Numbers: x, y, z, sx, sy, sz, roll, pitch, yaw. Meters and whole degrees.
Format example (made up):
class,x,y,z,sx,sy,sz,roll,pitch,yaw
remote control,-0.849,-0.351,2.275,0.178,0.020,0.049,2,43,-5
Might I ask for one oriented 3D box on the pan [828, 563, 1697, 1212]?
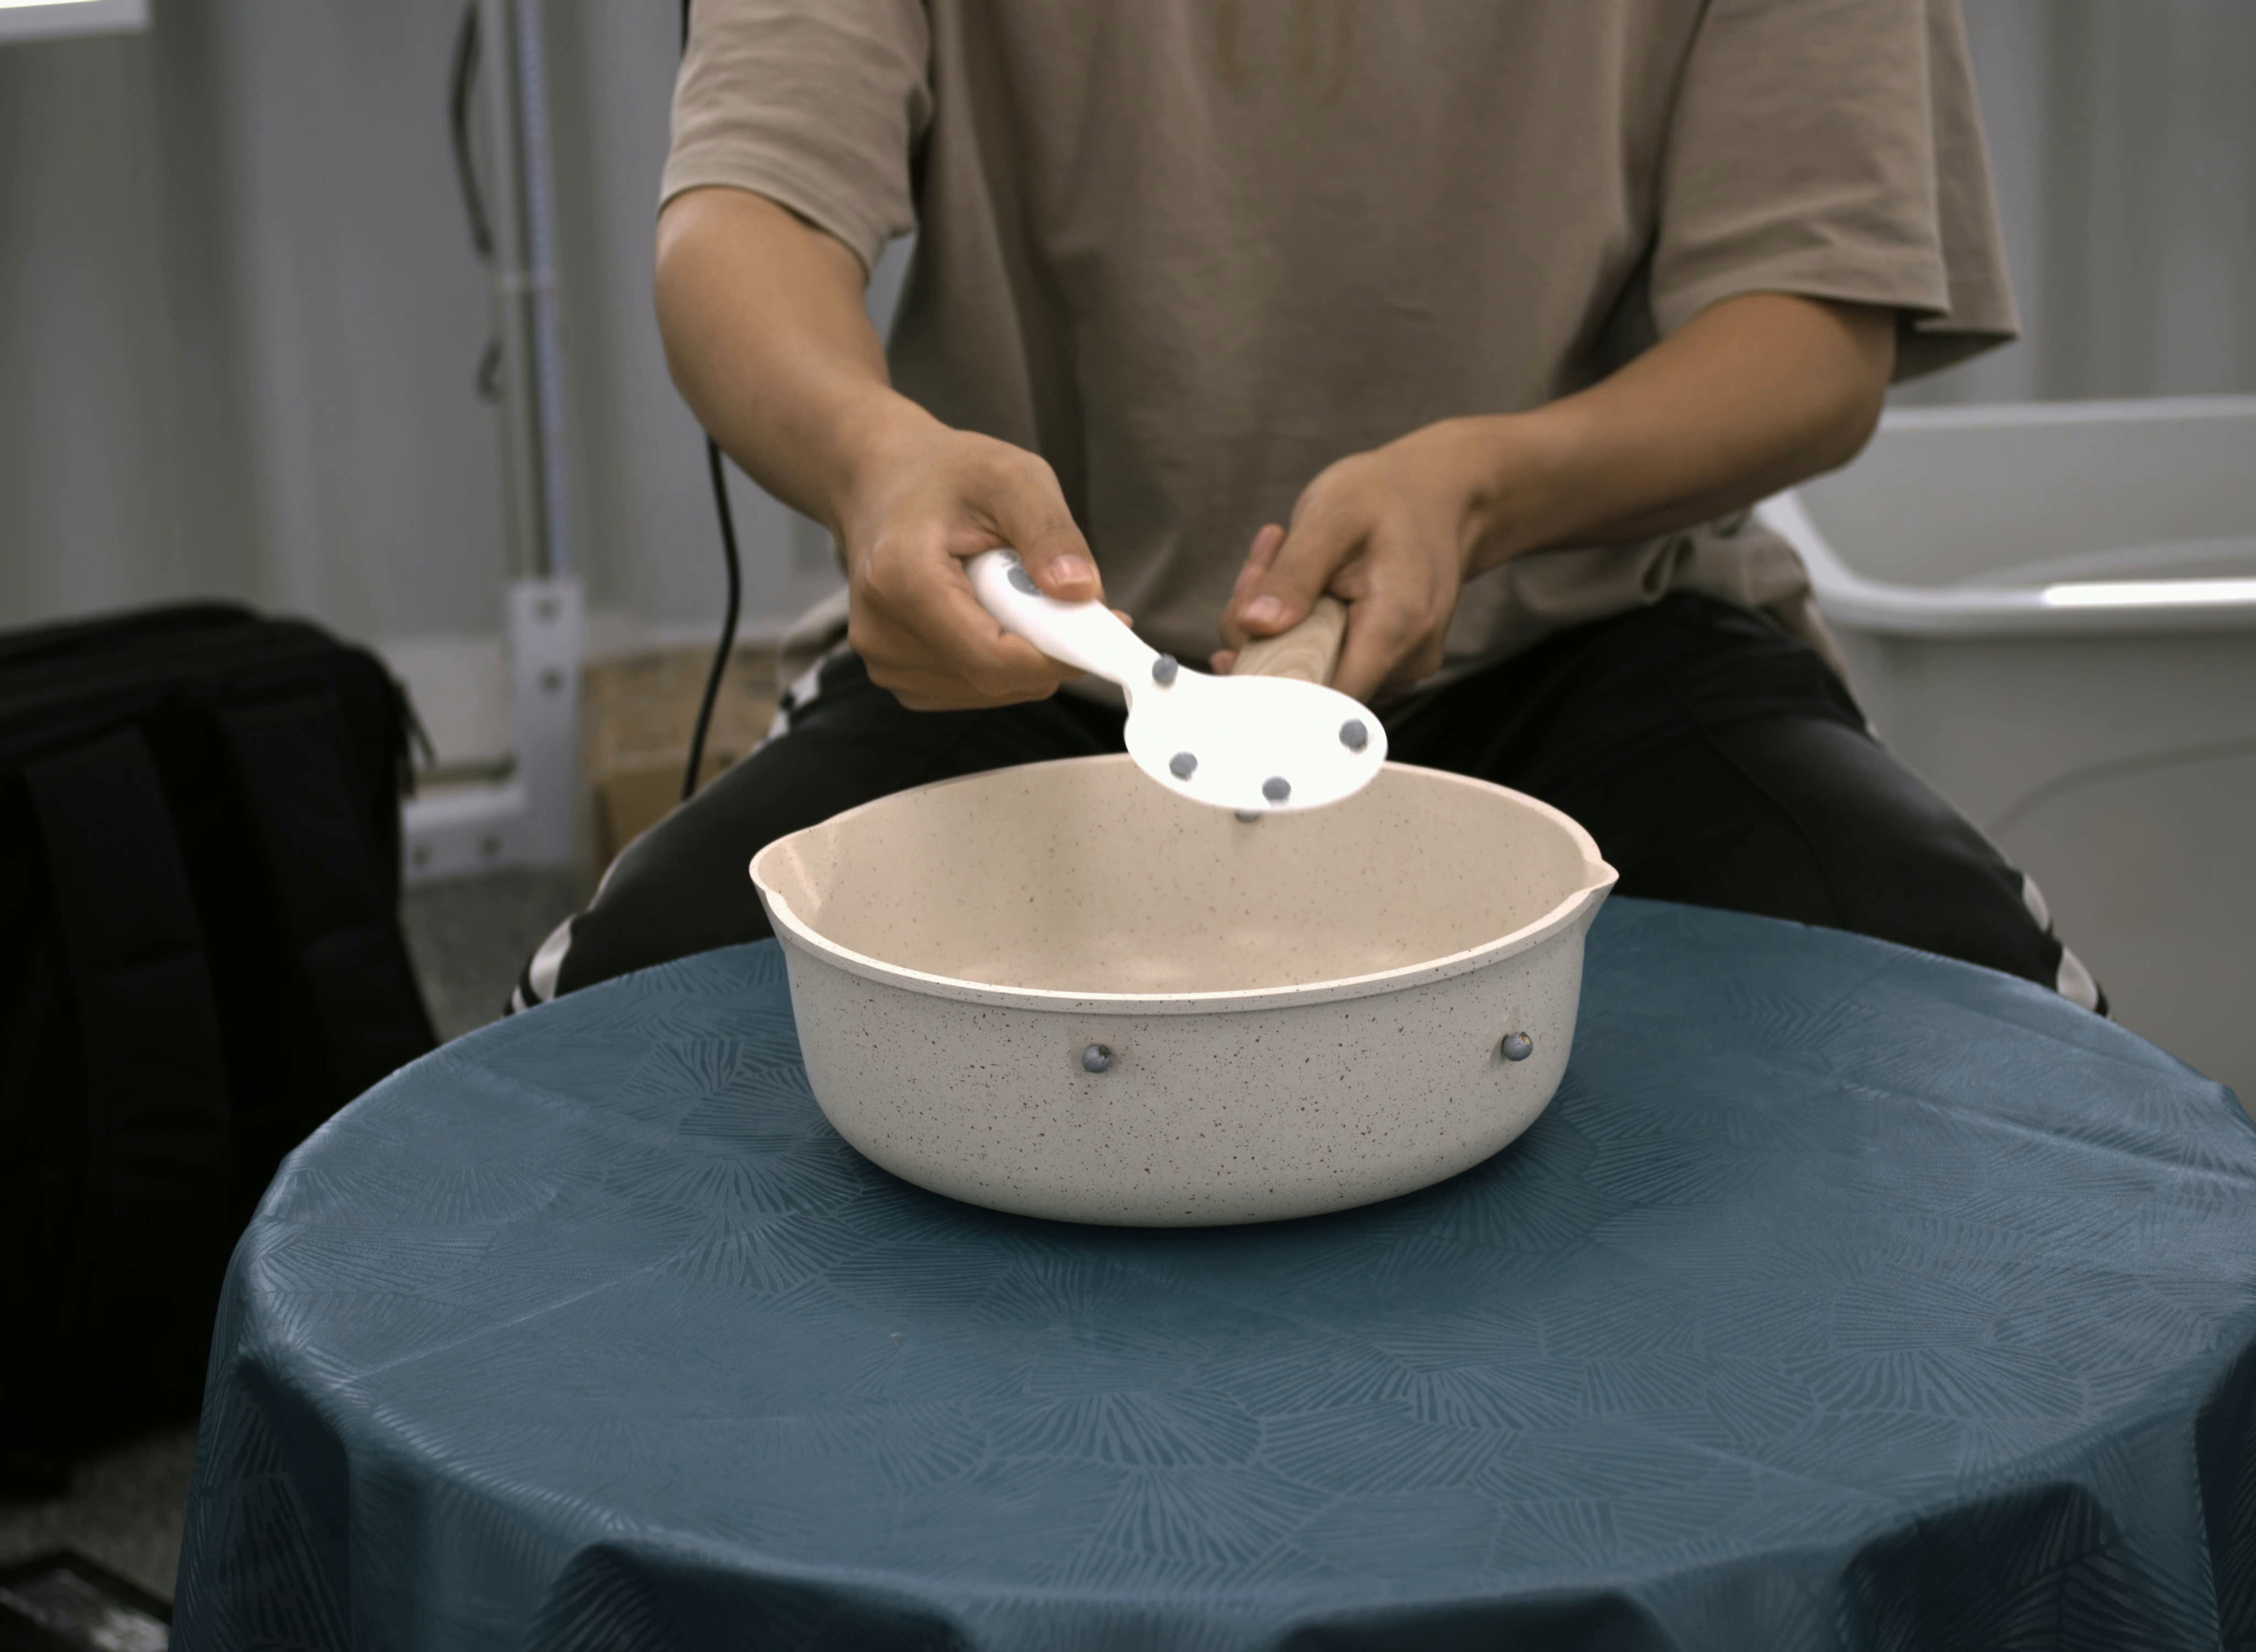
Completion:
class,x,y,z,sx,sy,sz,roll,pitch,yaw
pan,0.056,0.015,1.685,0.264,0.102,0.433,-1,16,11

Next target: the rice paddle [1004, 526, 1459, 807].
class,x,y,z,sx,sy,sz,roll,pitch,yaw
rice paddle,0.028,-0.047,1.593,0.067,0.029,0.210,-25,31,-23
